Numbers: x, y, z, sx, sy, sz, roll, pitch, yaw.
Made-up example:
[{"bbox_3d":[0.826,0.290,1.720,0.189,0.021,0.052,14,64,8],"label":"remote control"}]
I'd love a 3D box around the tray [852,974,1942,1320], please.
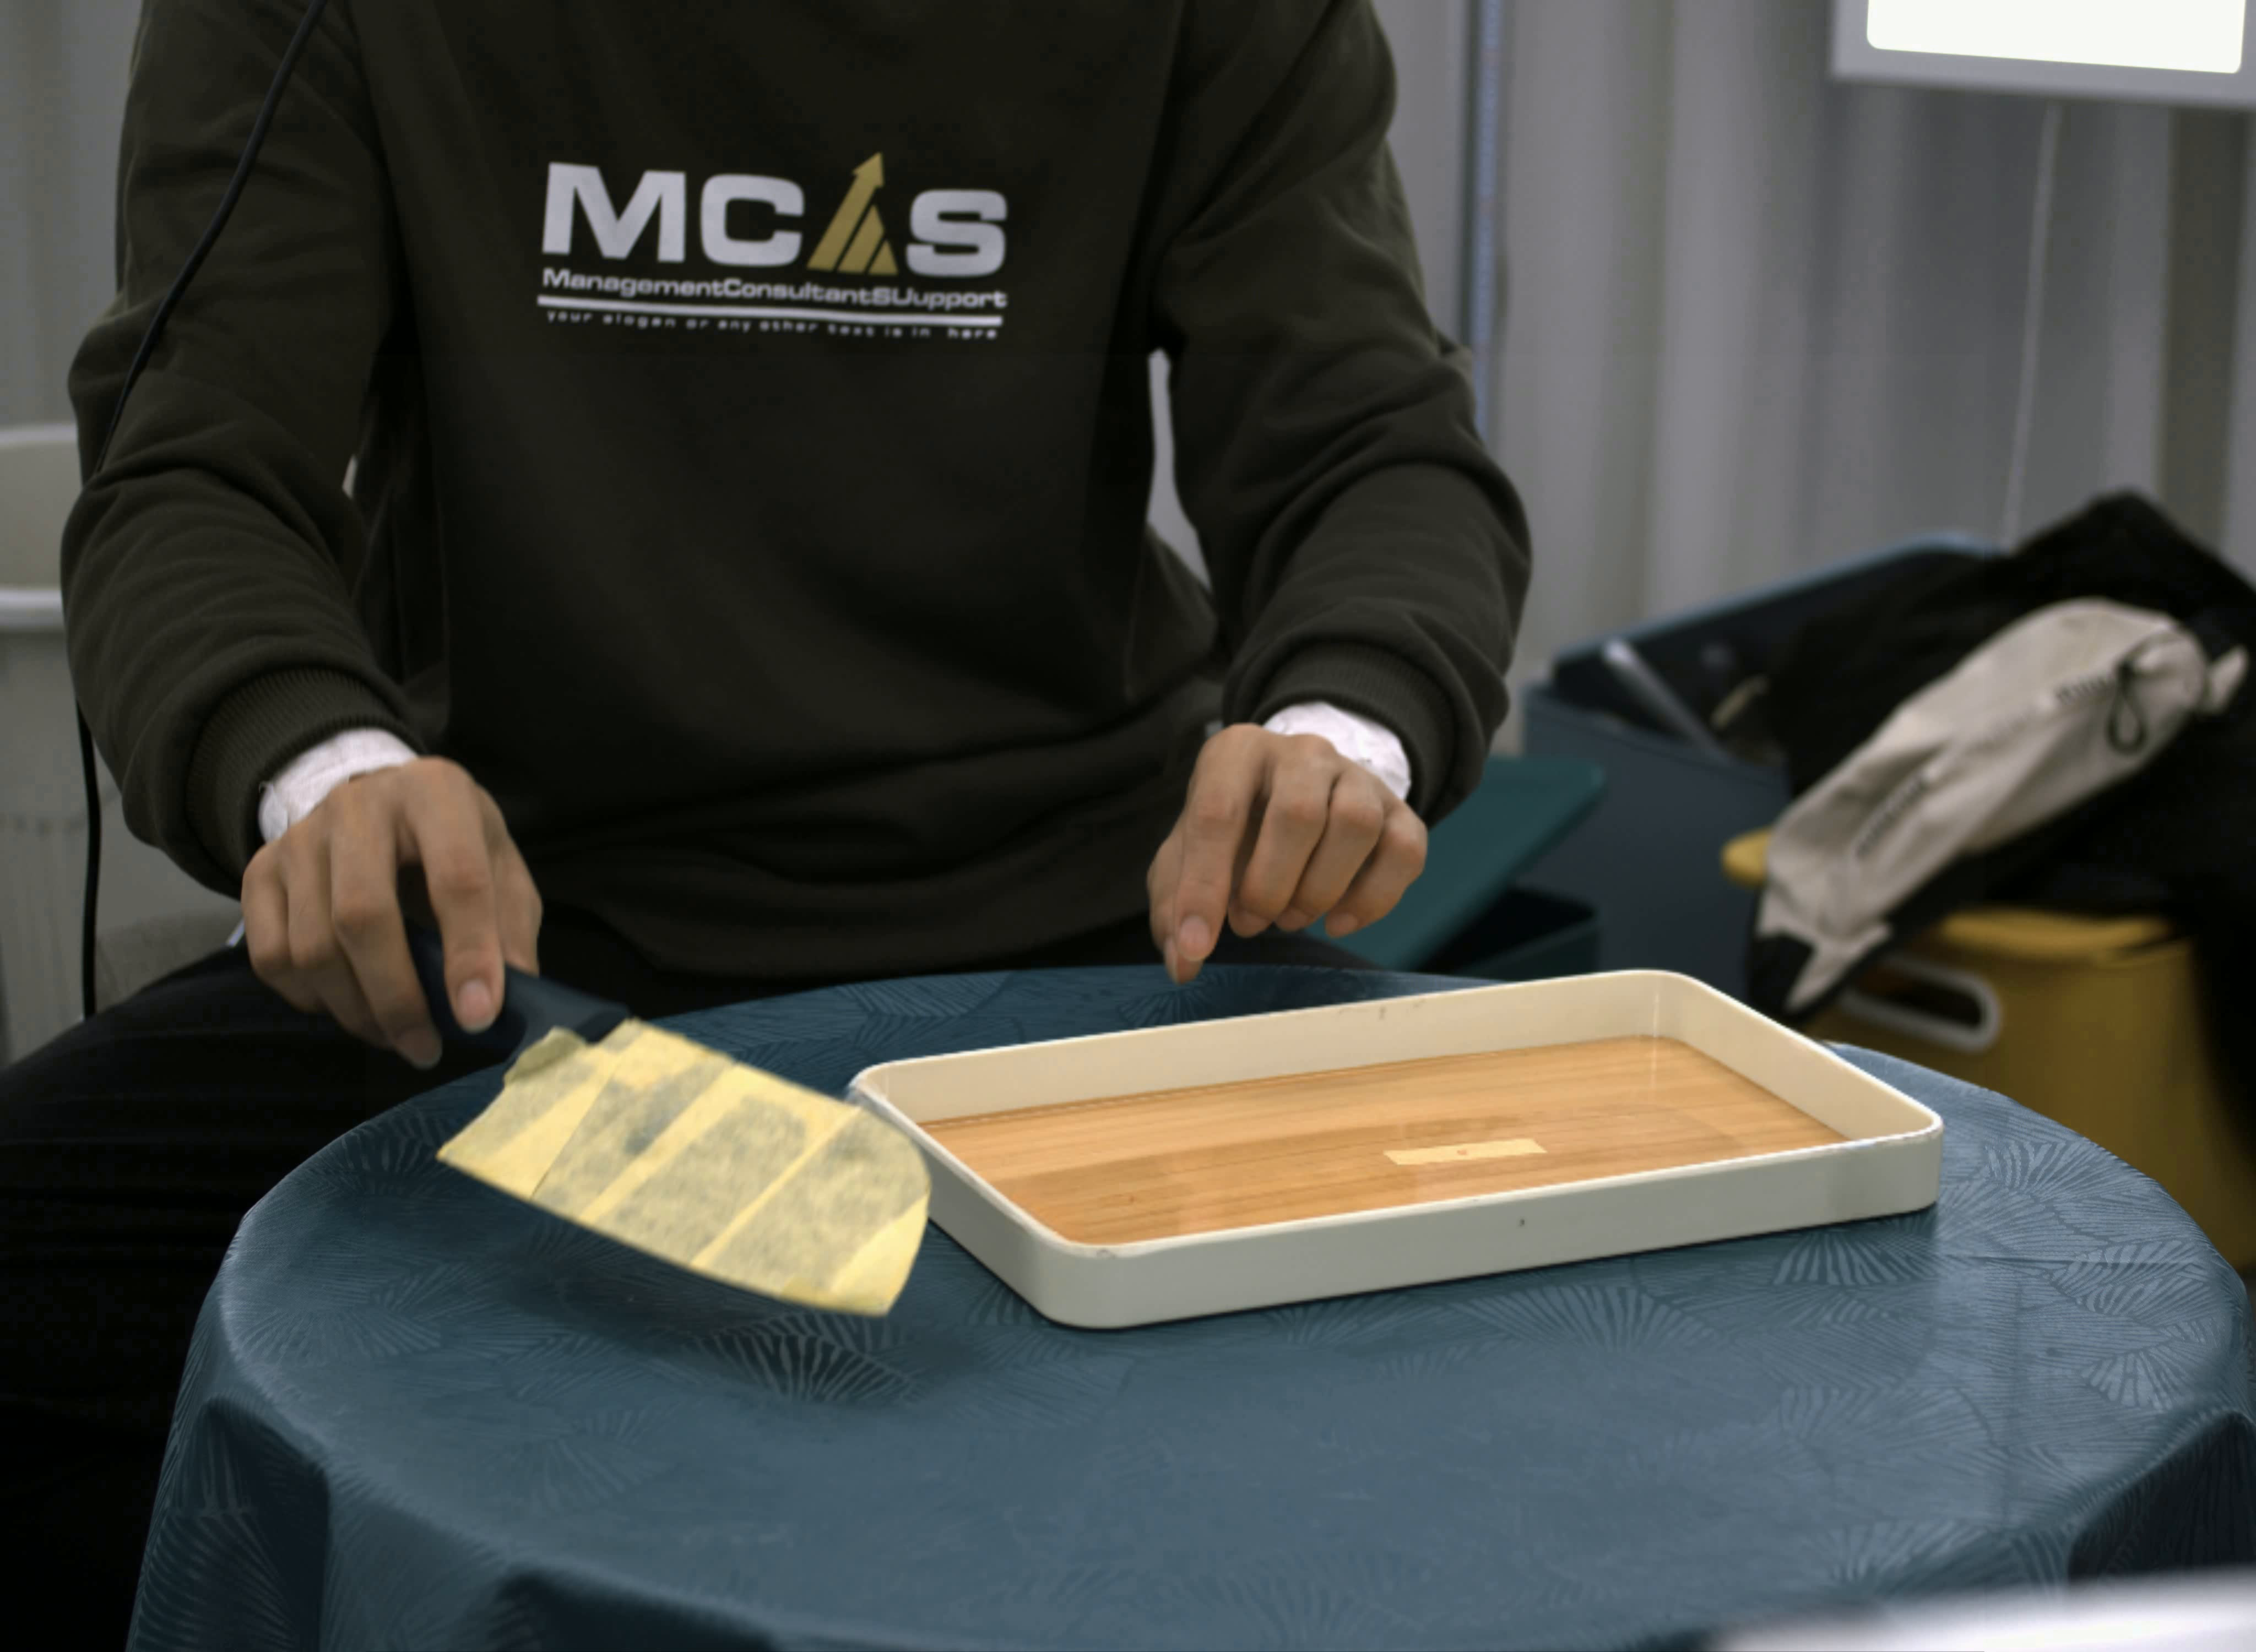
[{"bbox_3d":[0.082,0.096,1.636,0.301,0.027,0.189,-6,16,-23],"label":"tray"}]

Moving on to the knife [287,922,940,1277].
[{"bbox_3d":[-0.160,0.079,1.541,0.285,0.027,0.081,20,48,40],"label":"knife"}]
